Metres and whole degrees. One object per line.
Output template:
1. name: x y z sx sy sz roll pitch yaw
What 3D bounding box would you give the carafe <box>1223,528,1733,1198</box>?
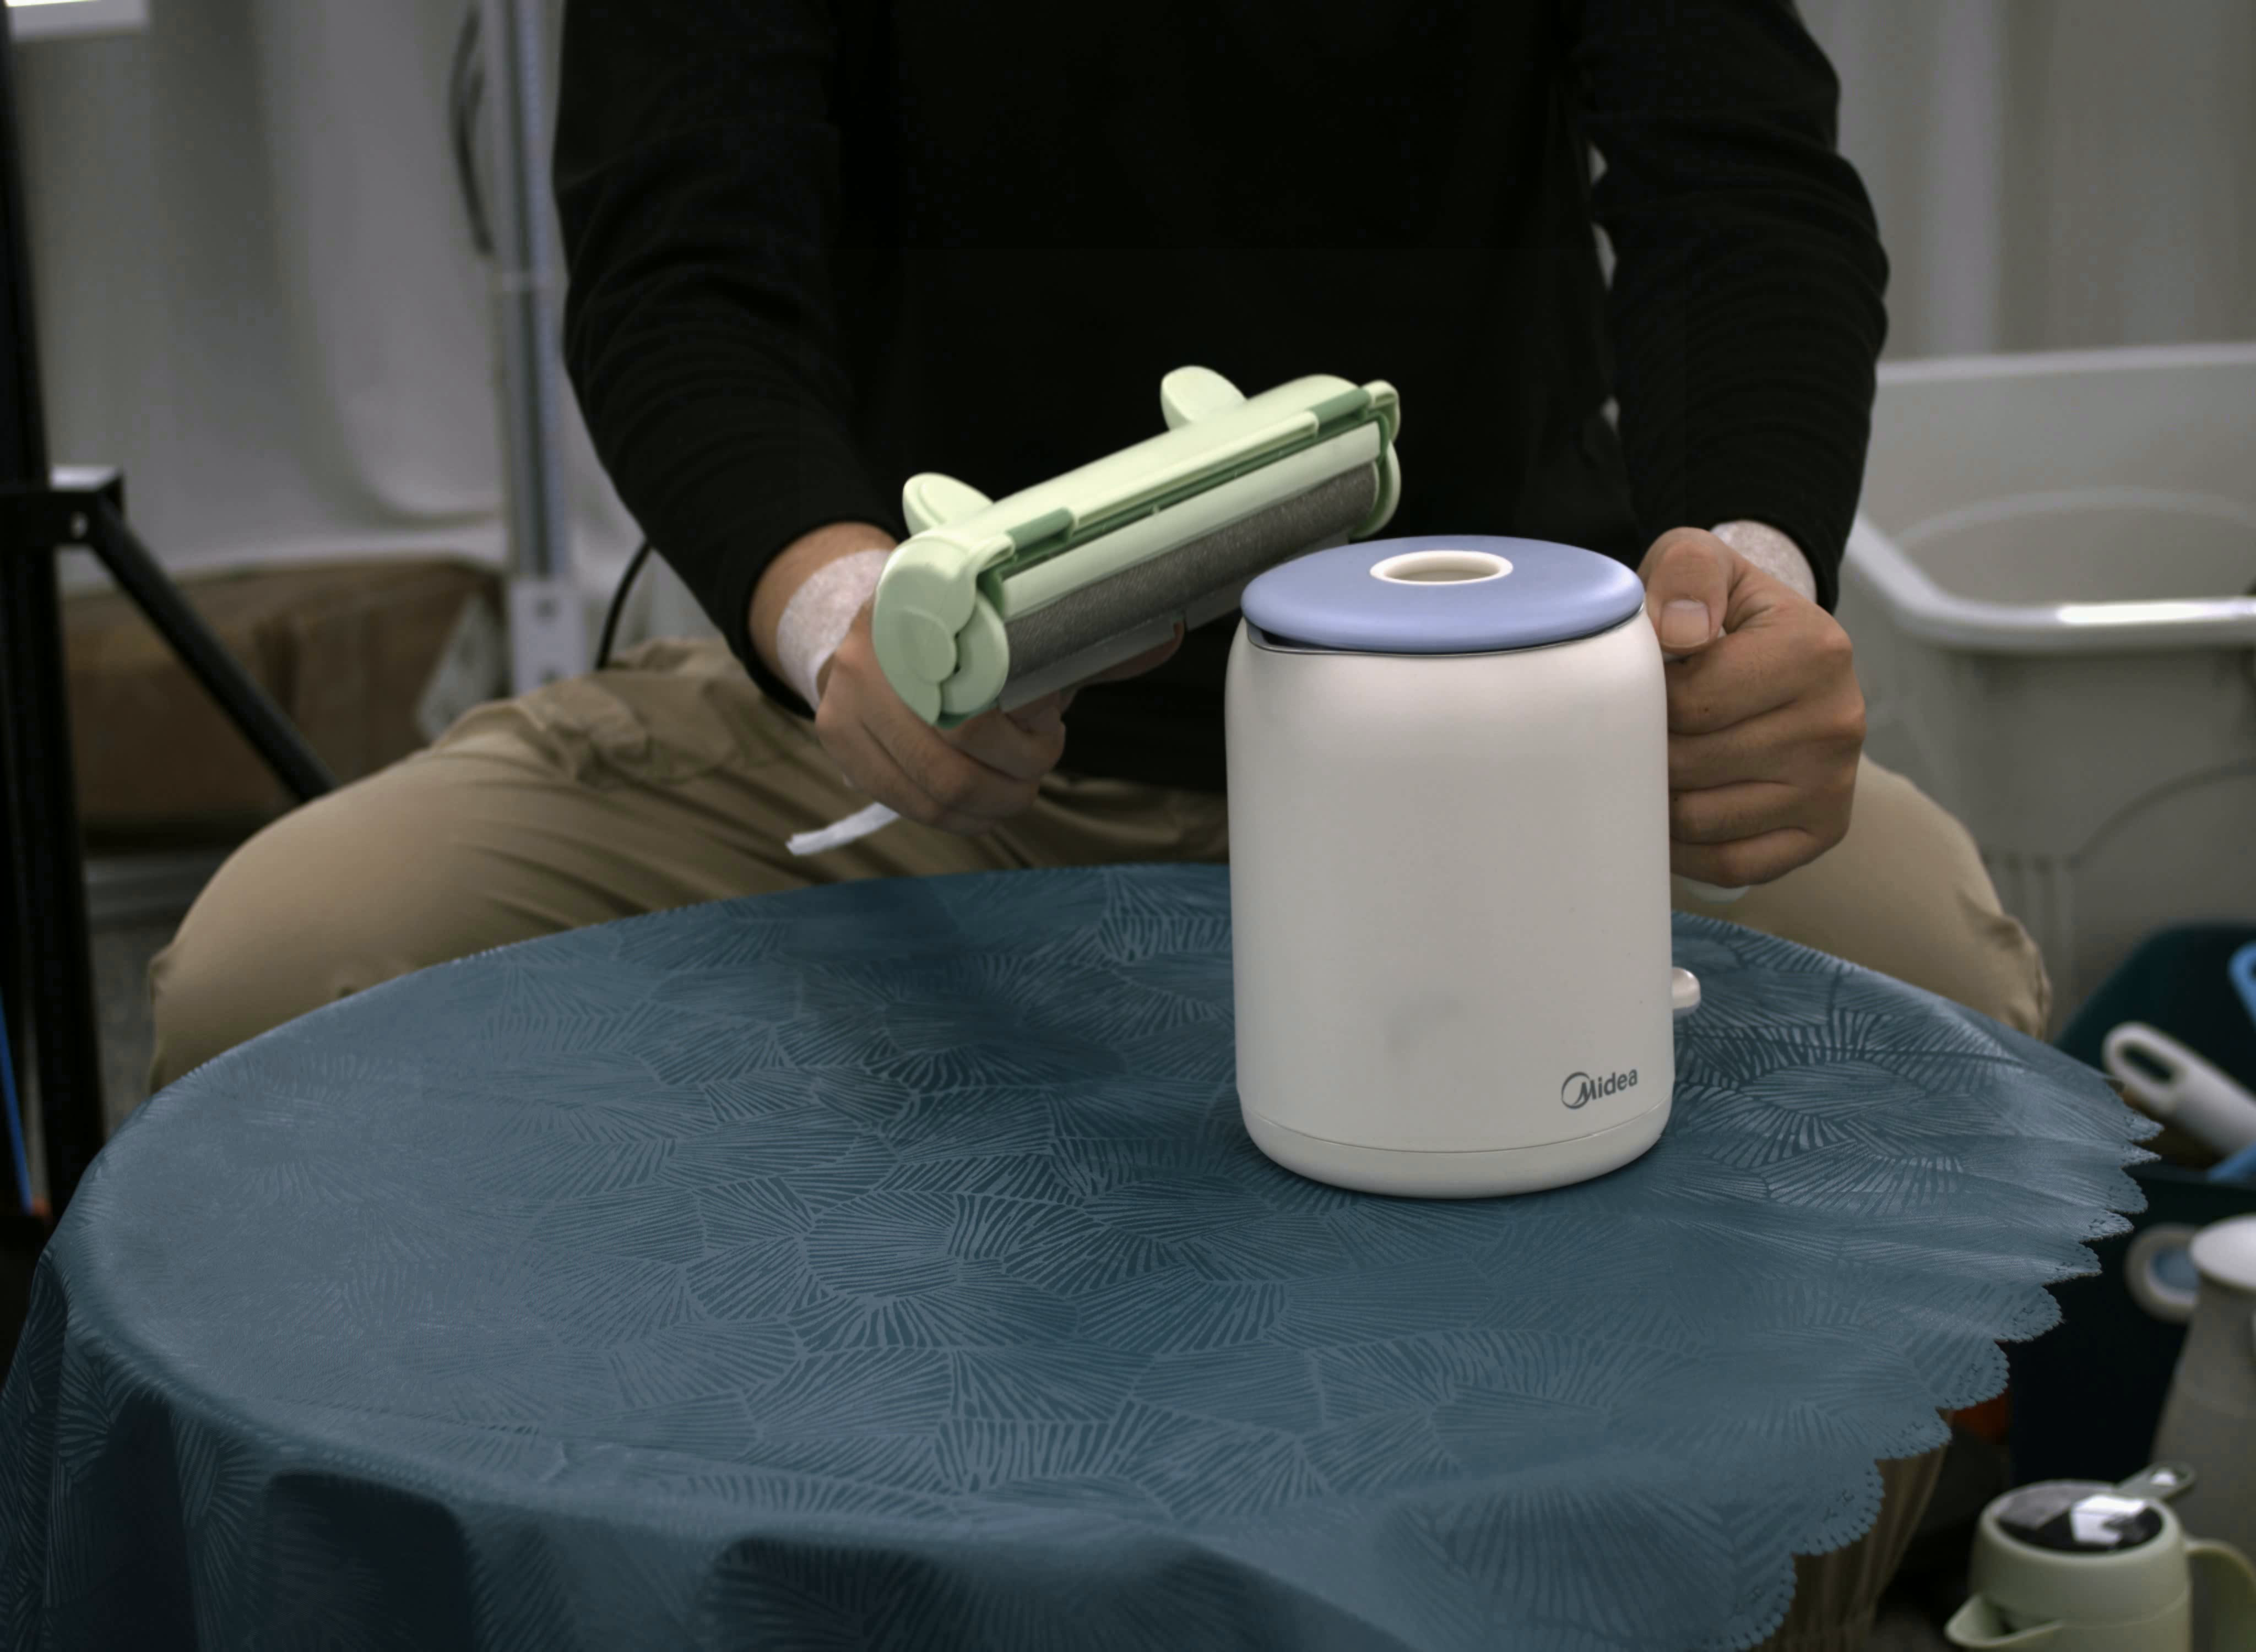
1. carafe: 0.113 0.006 1.585 0.186 0.182 0.135 -12 18 -37

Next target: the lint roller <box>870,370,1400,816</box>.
1. lint roller: -0.029 -0.070 1.647 0.194 0.083 0.186 -25 -6 -42
